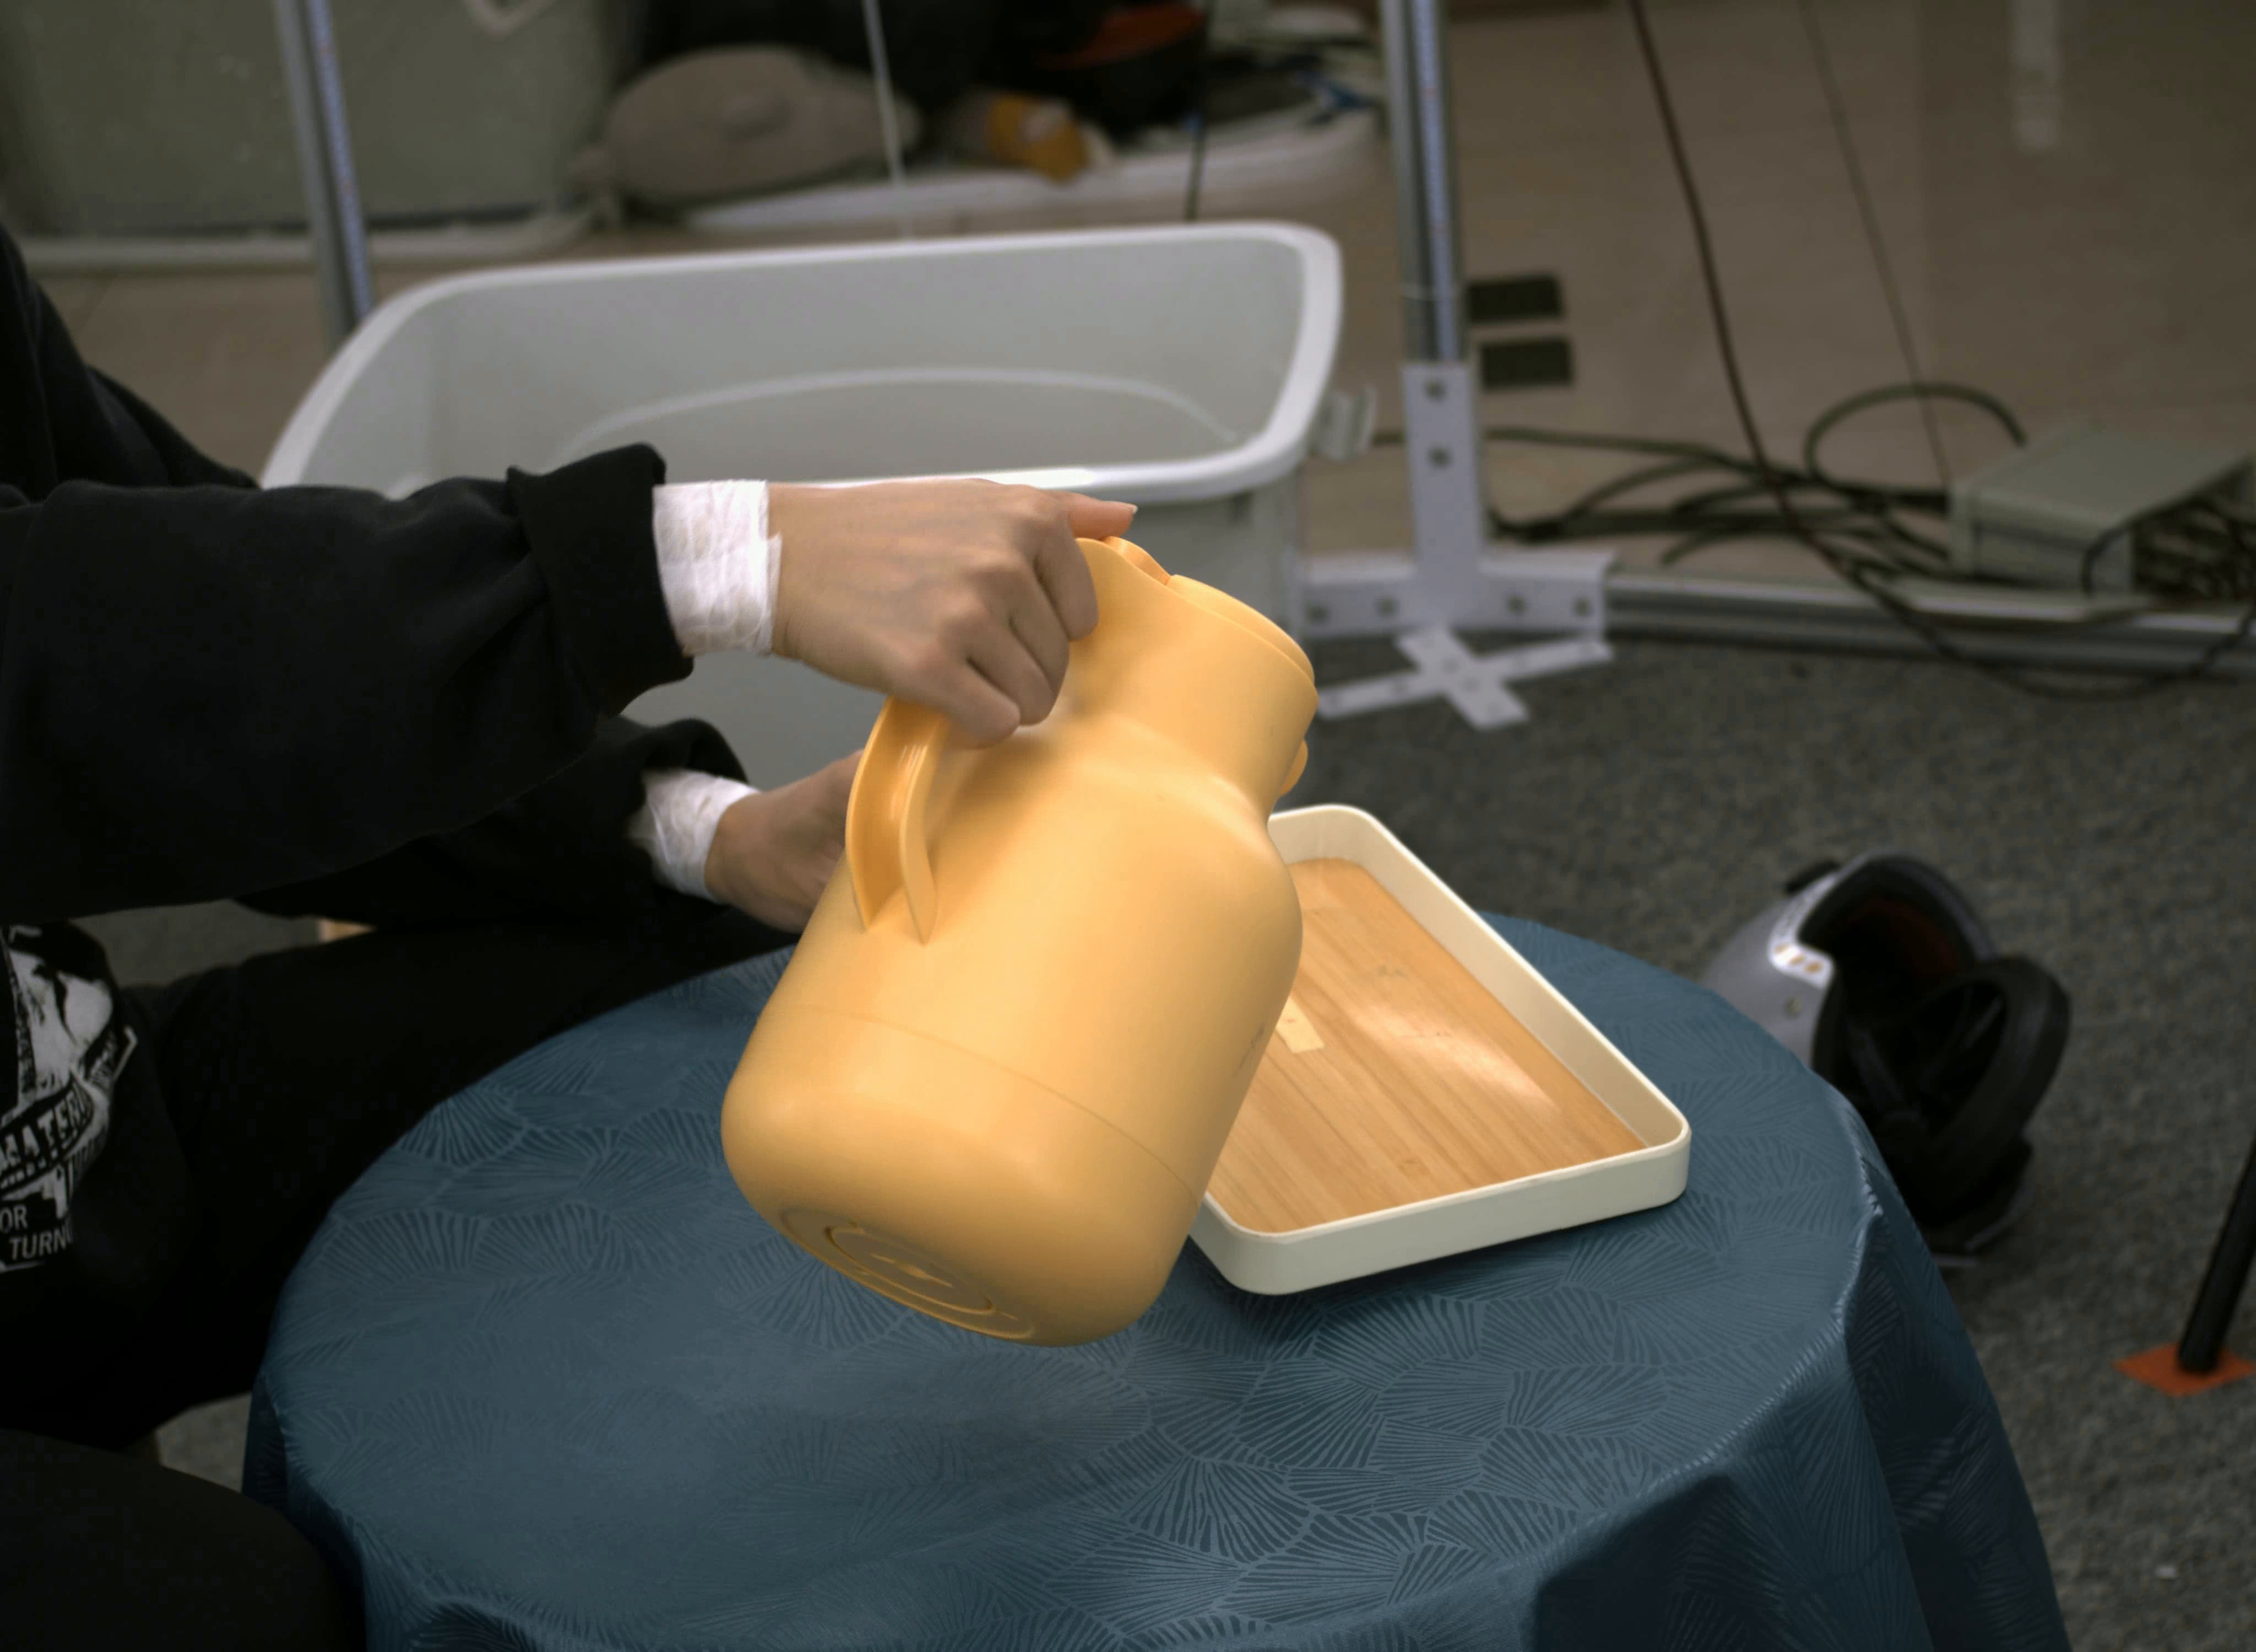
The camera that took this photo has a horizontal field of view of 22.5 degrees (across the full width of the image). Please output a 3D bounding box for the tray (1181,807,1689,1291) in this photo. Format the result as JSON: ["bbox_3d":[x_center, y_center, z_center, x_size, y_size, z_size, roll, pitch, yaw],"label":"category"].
[{"bbox_3d":[0.066,0.080,2.180,0.191,0.028,0.296,-11,30,-22],"label":"tray"}]

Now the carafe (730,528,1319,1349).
[{"bbox_3d":[-0.032,0.029,1.934,0.163,0.205,0.258,7,65,38],"label":"carafe"}]
